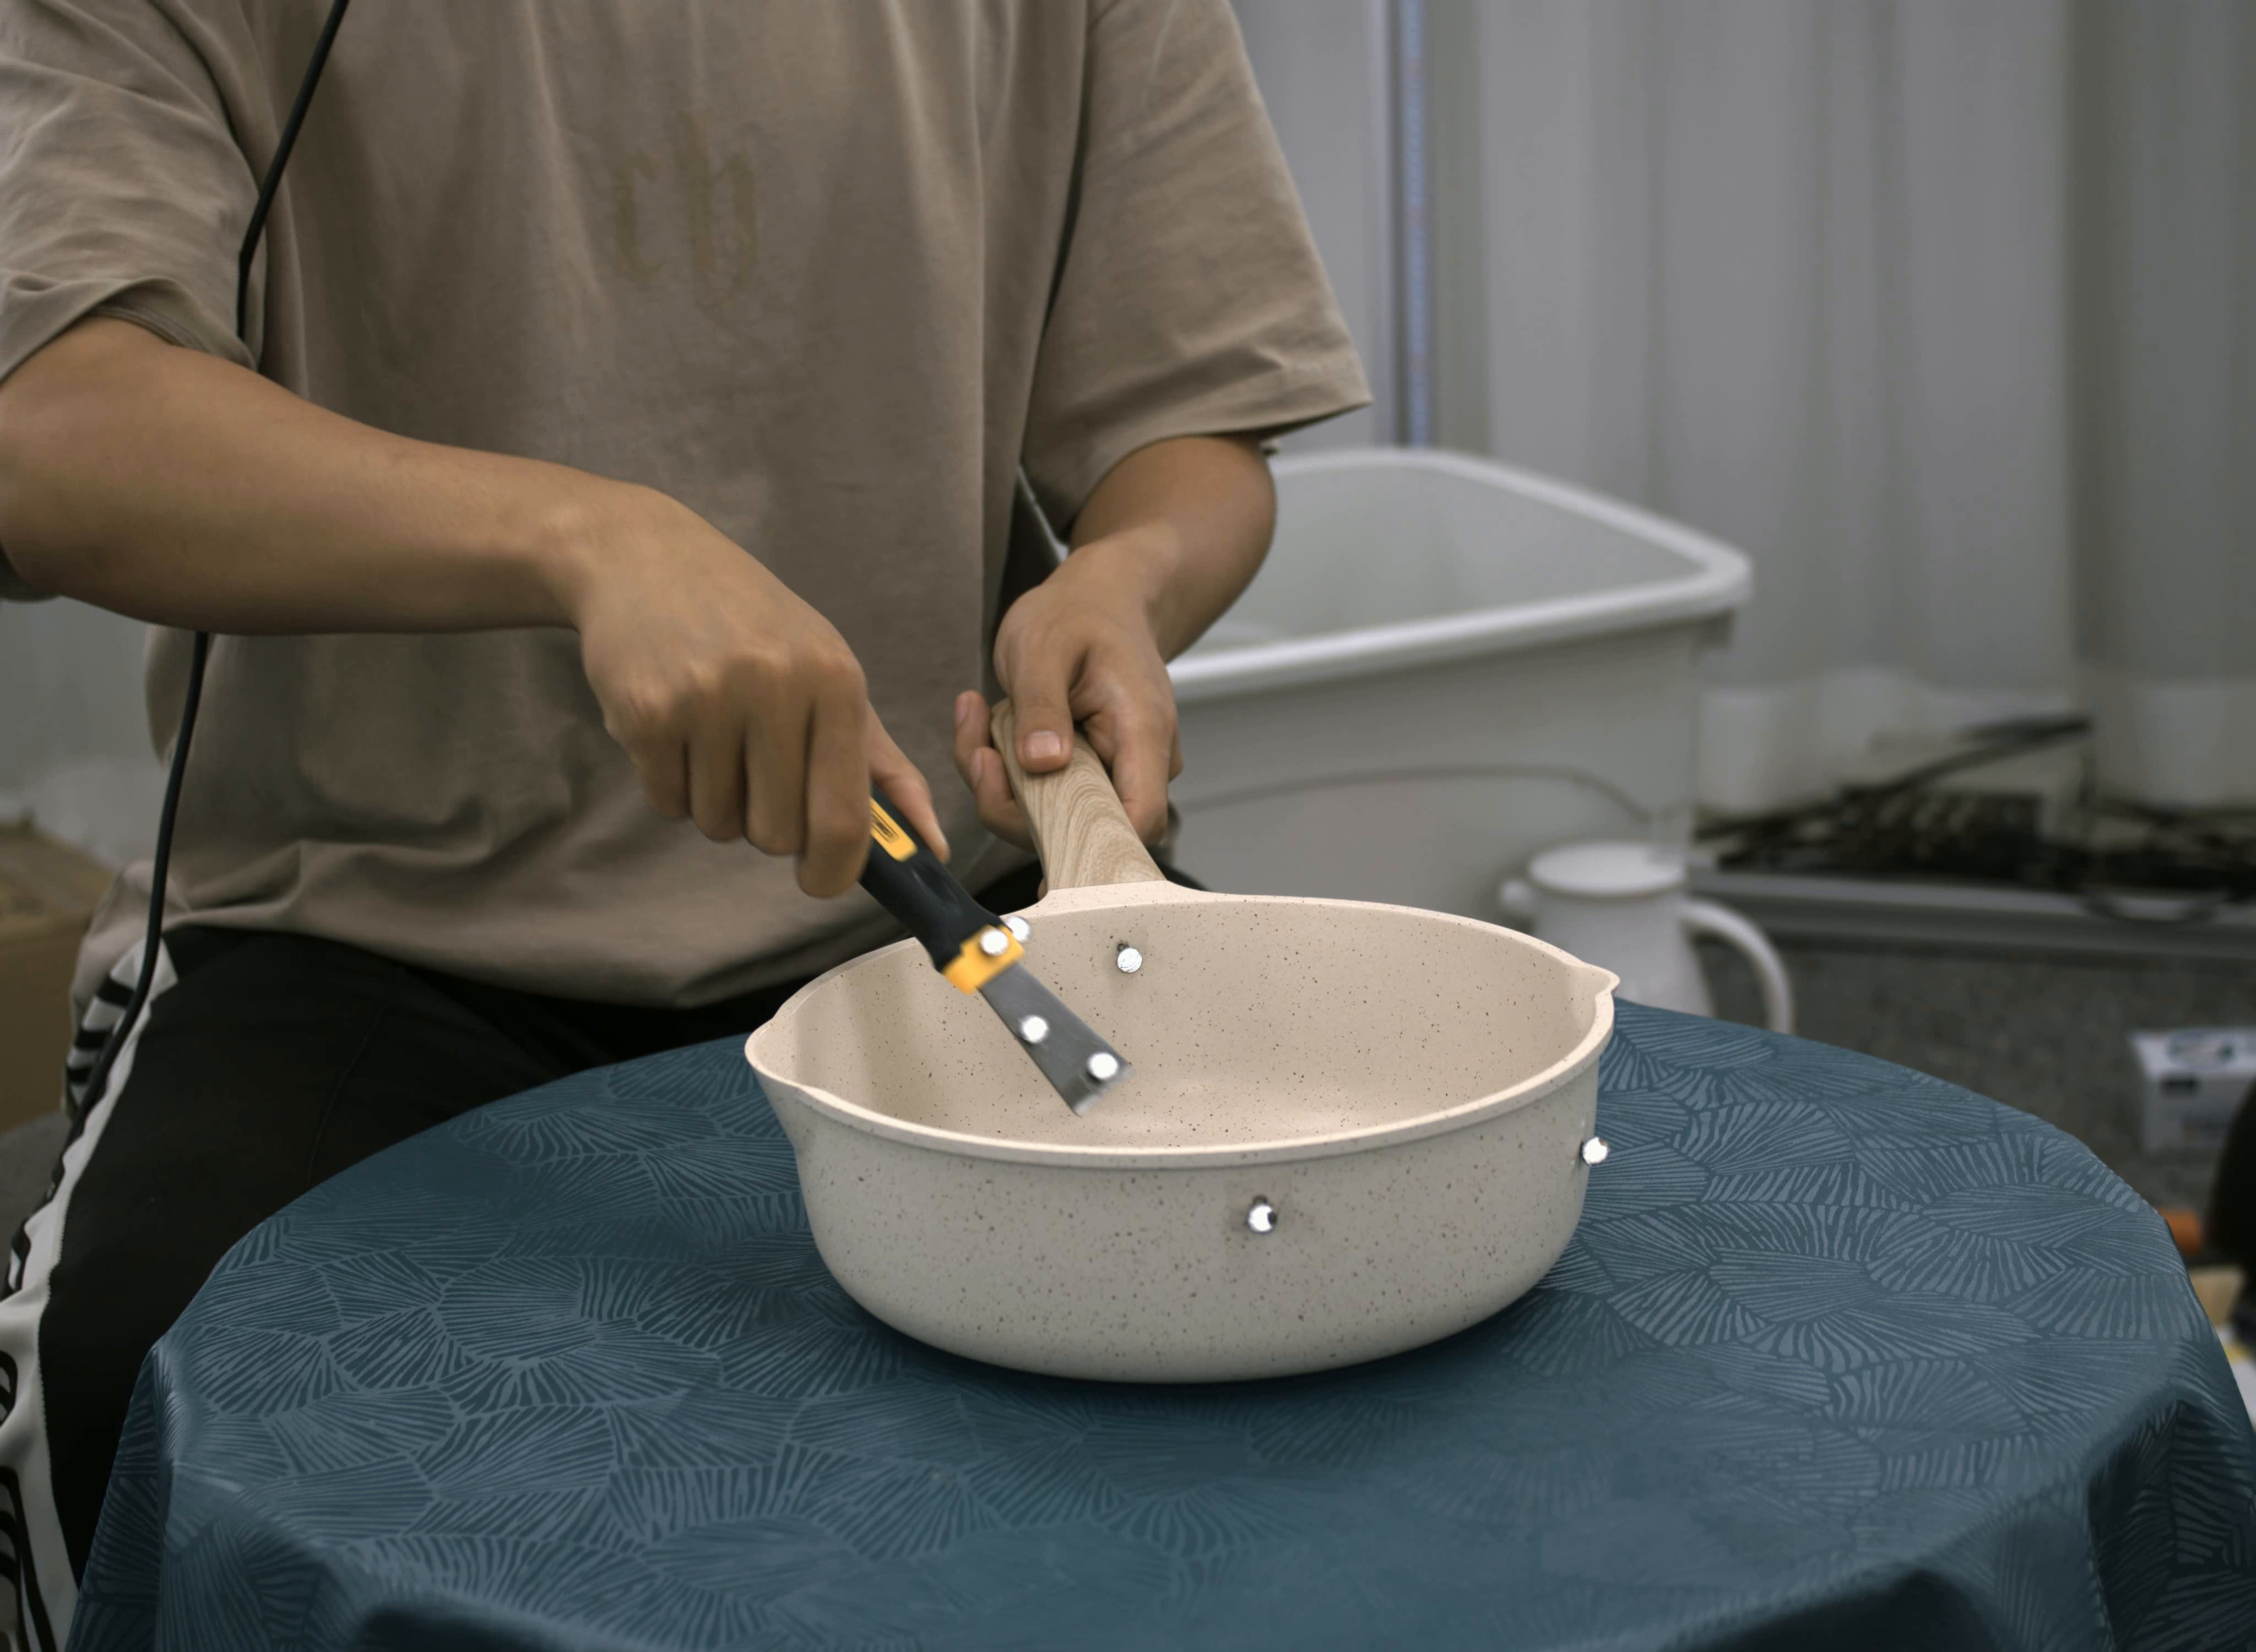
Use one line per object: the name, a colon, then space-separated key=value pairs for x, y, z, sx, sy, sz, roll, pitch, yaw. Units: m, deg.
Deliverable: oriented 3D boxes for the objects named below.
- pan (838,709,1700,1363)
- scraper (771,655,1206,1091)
pan: x=0.030 y=0.060 z=1.718 sx=0.262 sy=0.101 sz=0.438 roll=-8 pitch=15 yaw=-8
scraper: x=-0.045 y=0.013 z=1.661 sx=0.039 sy=0.171 sz=0.015 roll=-39 pitch=-8 yaw=-44
